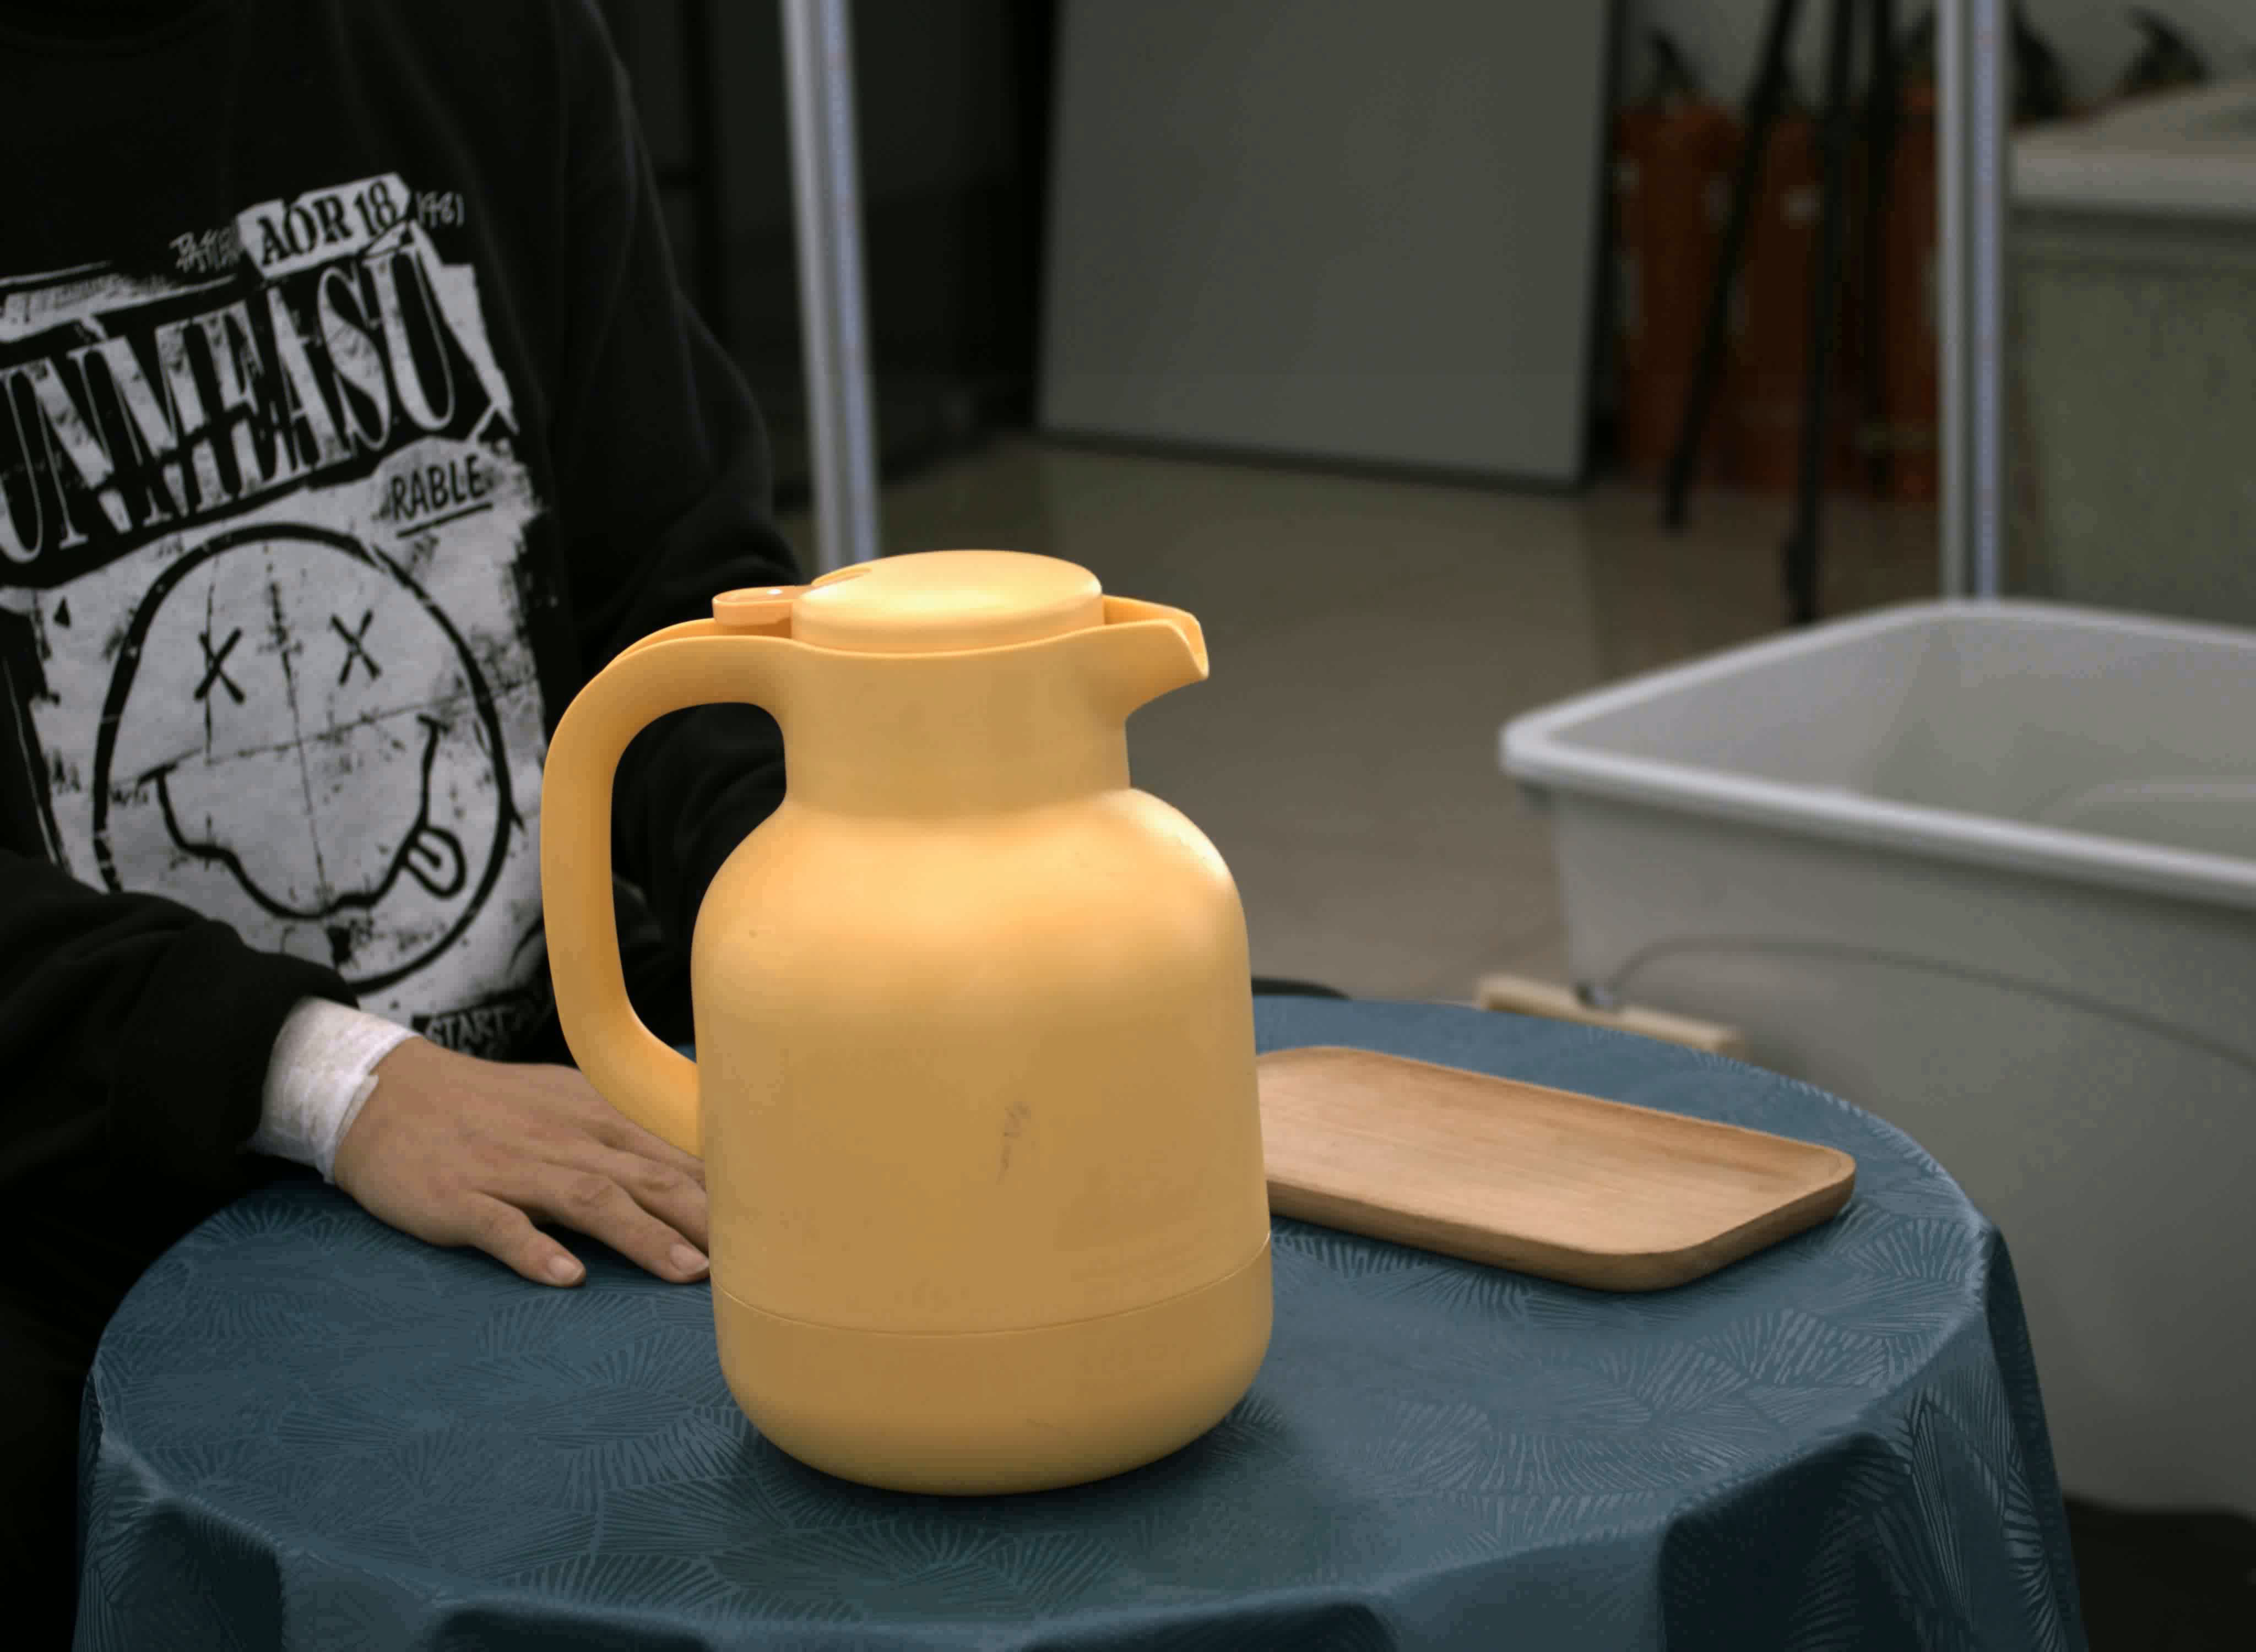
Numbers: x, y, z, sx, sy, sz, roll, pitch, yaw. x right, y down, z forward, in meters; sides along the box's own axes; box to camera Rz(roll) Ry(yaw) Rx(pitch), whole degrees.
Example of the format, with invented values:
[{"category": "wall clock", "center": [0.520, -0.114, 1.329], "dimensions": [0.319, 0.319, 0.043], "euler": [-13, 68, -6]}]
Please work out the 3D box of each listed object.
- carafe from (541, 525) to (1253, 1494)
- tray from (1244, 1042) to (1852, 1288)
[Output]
[{"category": "carafe", "center": [-0.065, 0.047, 1.540], "dimensions": [0.201, 0.263, 0.162], "euler": [1, 12, 12]}, {"category": "tray", "center": [0.110, 0.109, 1.754], "dimensions": [0.128, 0.023, 0.253], "euler": [-14, 16, -42]}]
